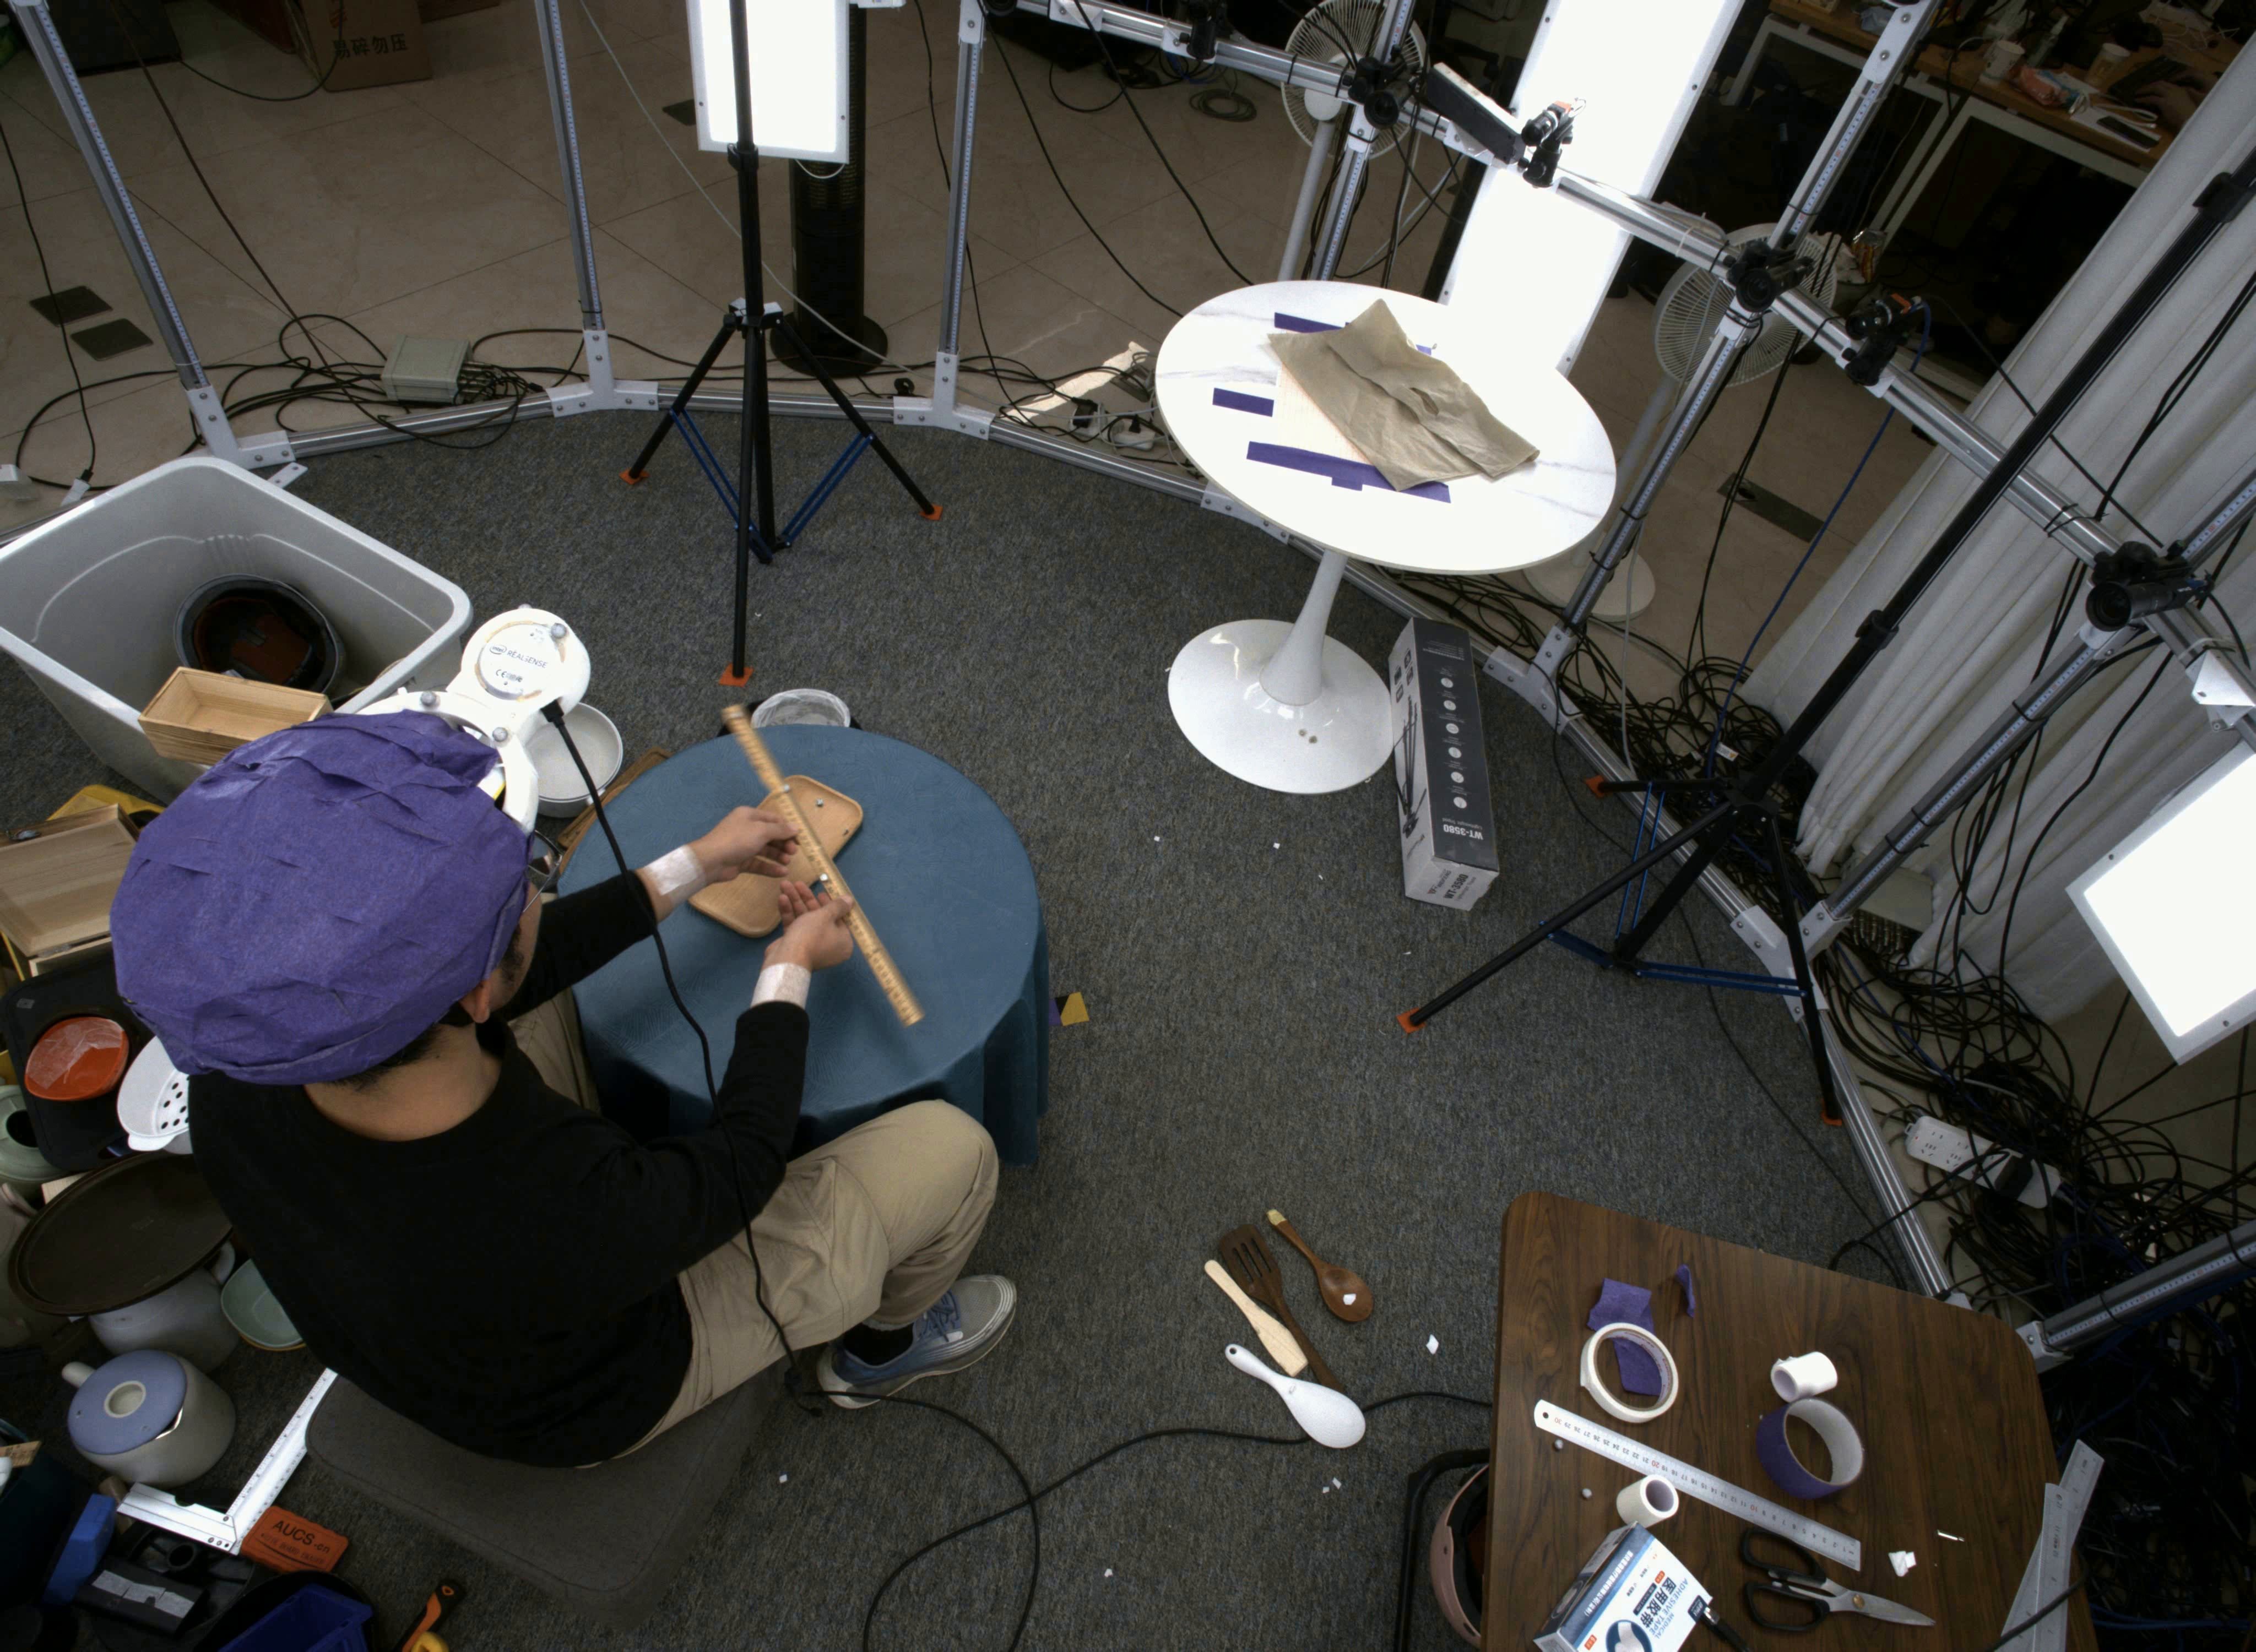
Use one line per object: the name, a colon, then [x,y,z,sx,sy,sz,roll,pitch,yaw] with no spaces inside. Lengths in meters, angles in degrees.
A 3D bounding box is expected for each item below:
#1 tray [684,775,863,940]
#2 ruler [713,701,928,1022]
tray: [-0.455,0.036,1.673,0.128,0.023,0.249,27,53,9]
ruler: [-0.384,0.033,1.583,0.027,0.006,0.491,-30,72,-21]
